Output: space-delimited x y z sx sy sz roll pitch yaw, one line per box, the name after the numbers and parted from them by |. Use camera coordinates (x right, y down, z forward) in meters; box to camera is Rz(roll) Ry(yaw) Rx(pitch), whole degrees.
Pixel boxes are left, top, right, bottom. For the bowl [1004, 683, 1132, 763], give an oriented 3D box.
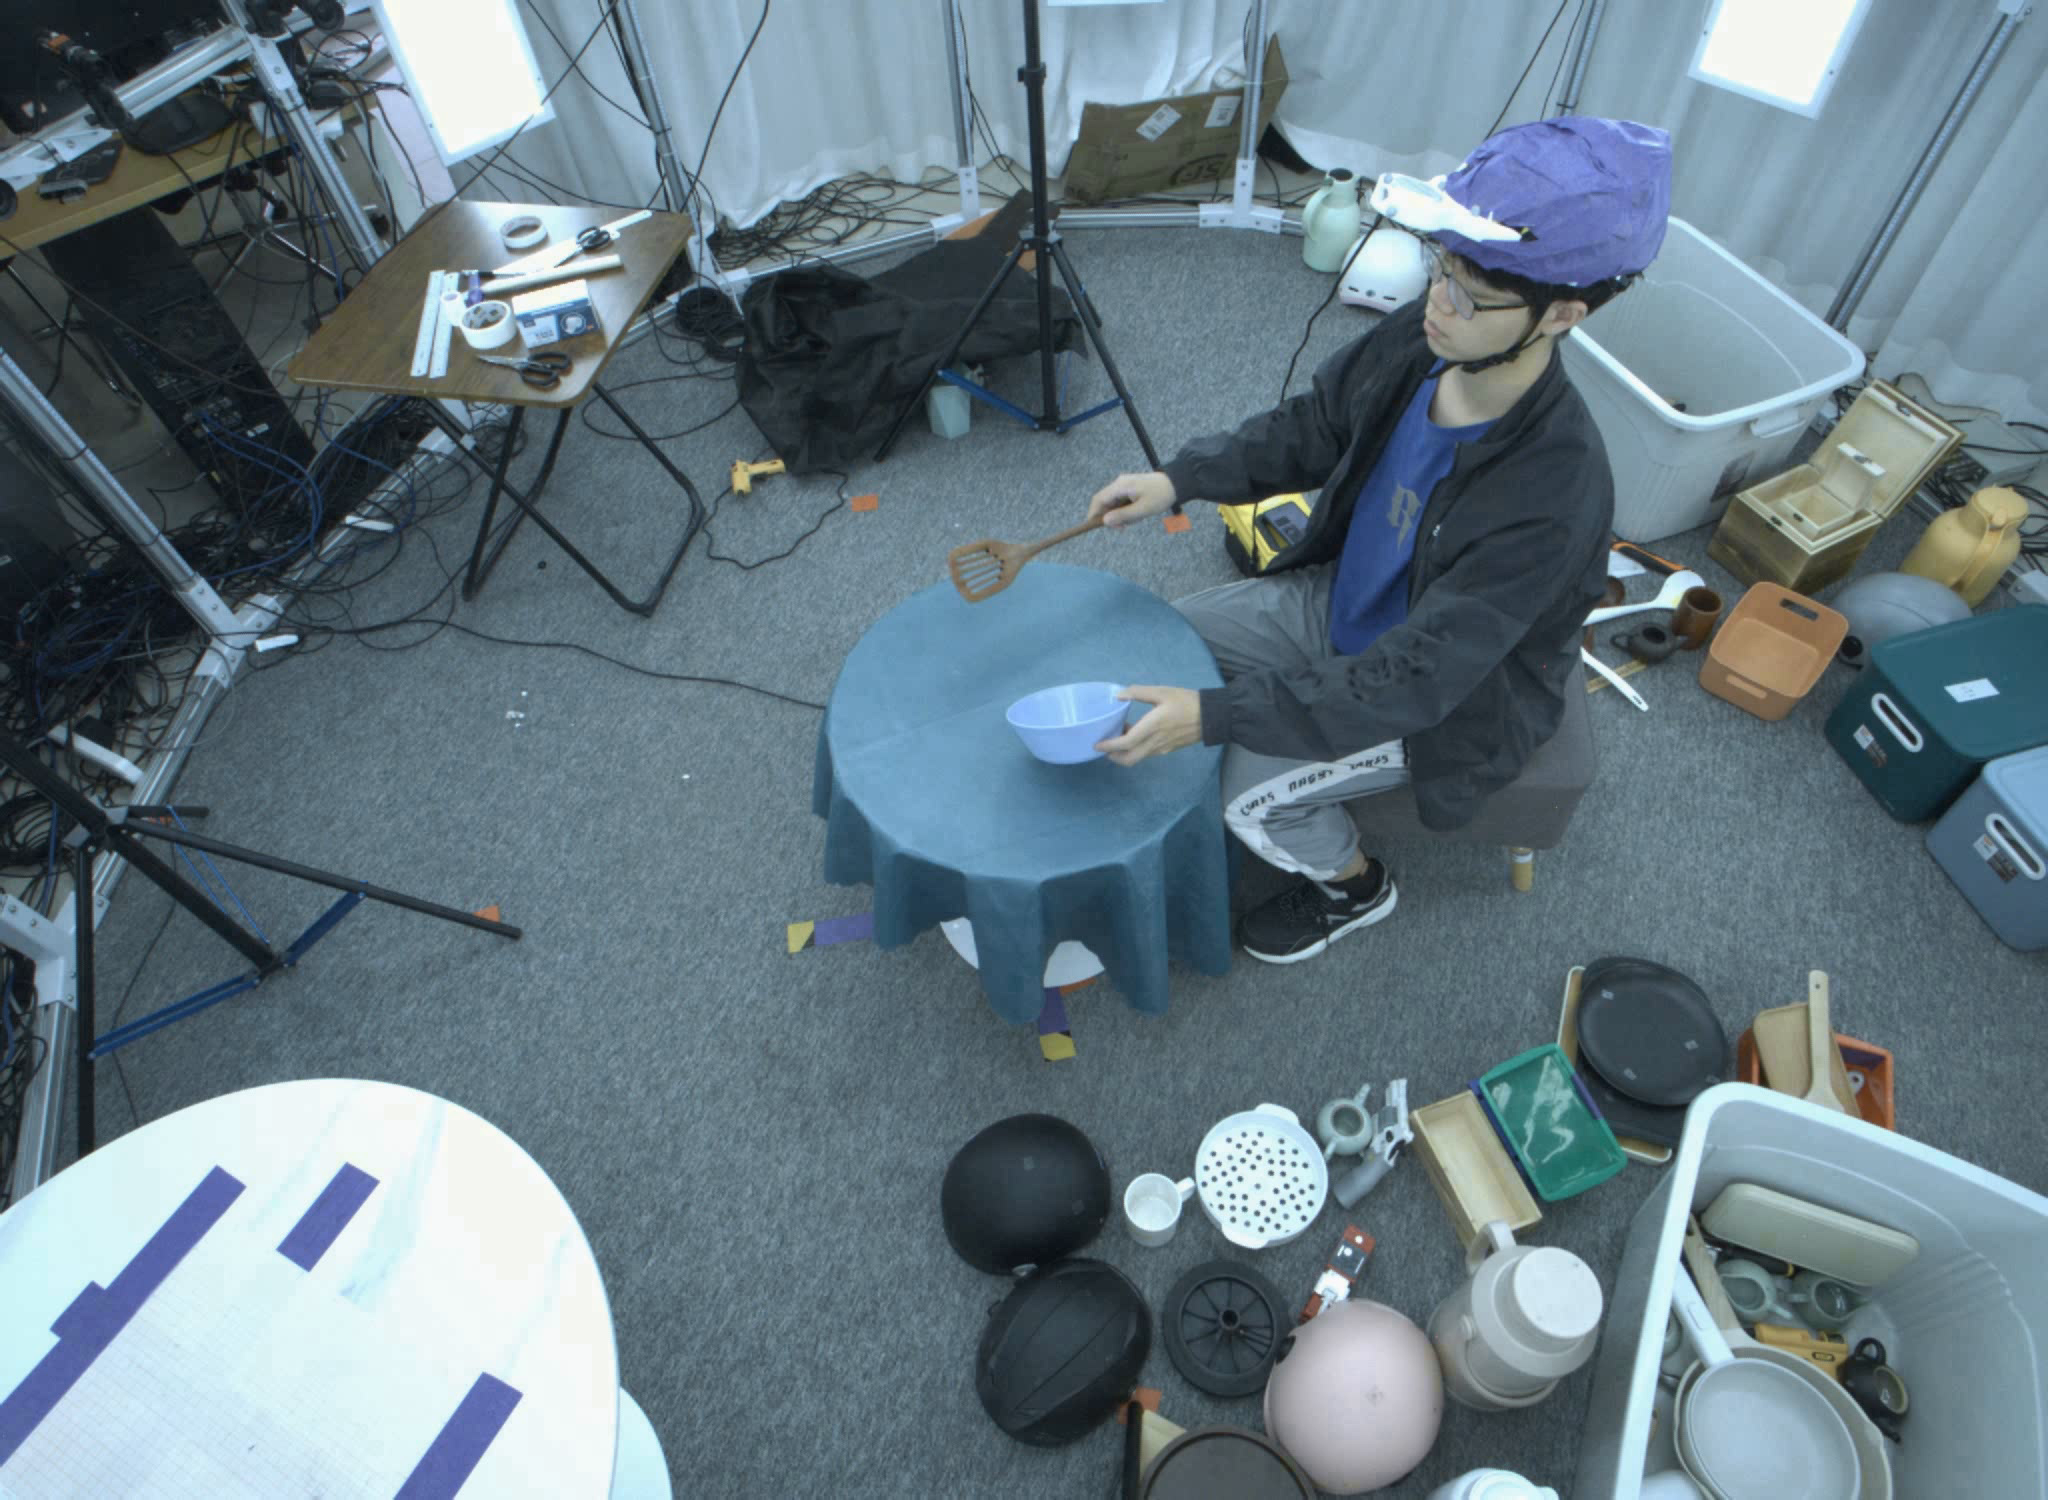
0.064 -0.034 1.688 0.176 0.071 0.175 -7 20 4 | bowl

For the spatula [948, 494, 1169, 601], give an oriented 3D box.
0.059 -0.318 1.833 0.391 0.024 0.085 -25 91 -23 | spatula
